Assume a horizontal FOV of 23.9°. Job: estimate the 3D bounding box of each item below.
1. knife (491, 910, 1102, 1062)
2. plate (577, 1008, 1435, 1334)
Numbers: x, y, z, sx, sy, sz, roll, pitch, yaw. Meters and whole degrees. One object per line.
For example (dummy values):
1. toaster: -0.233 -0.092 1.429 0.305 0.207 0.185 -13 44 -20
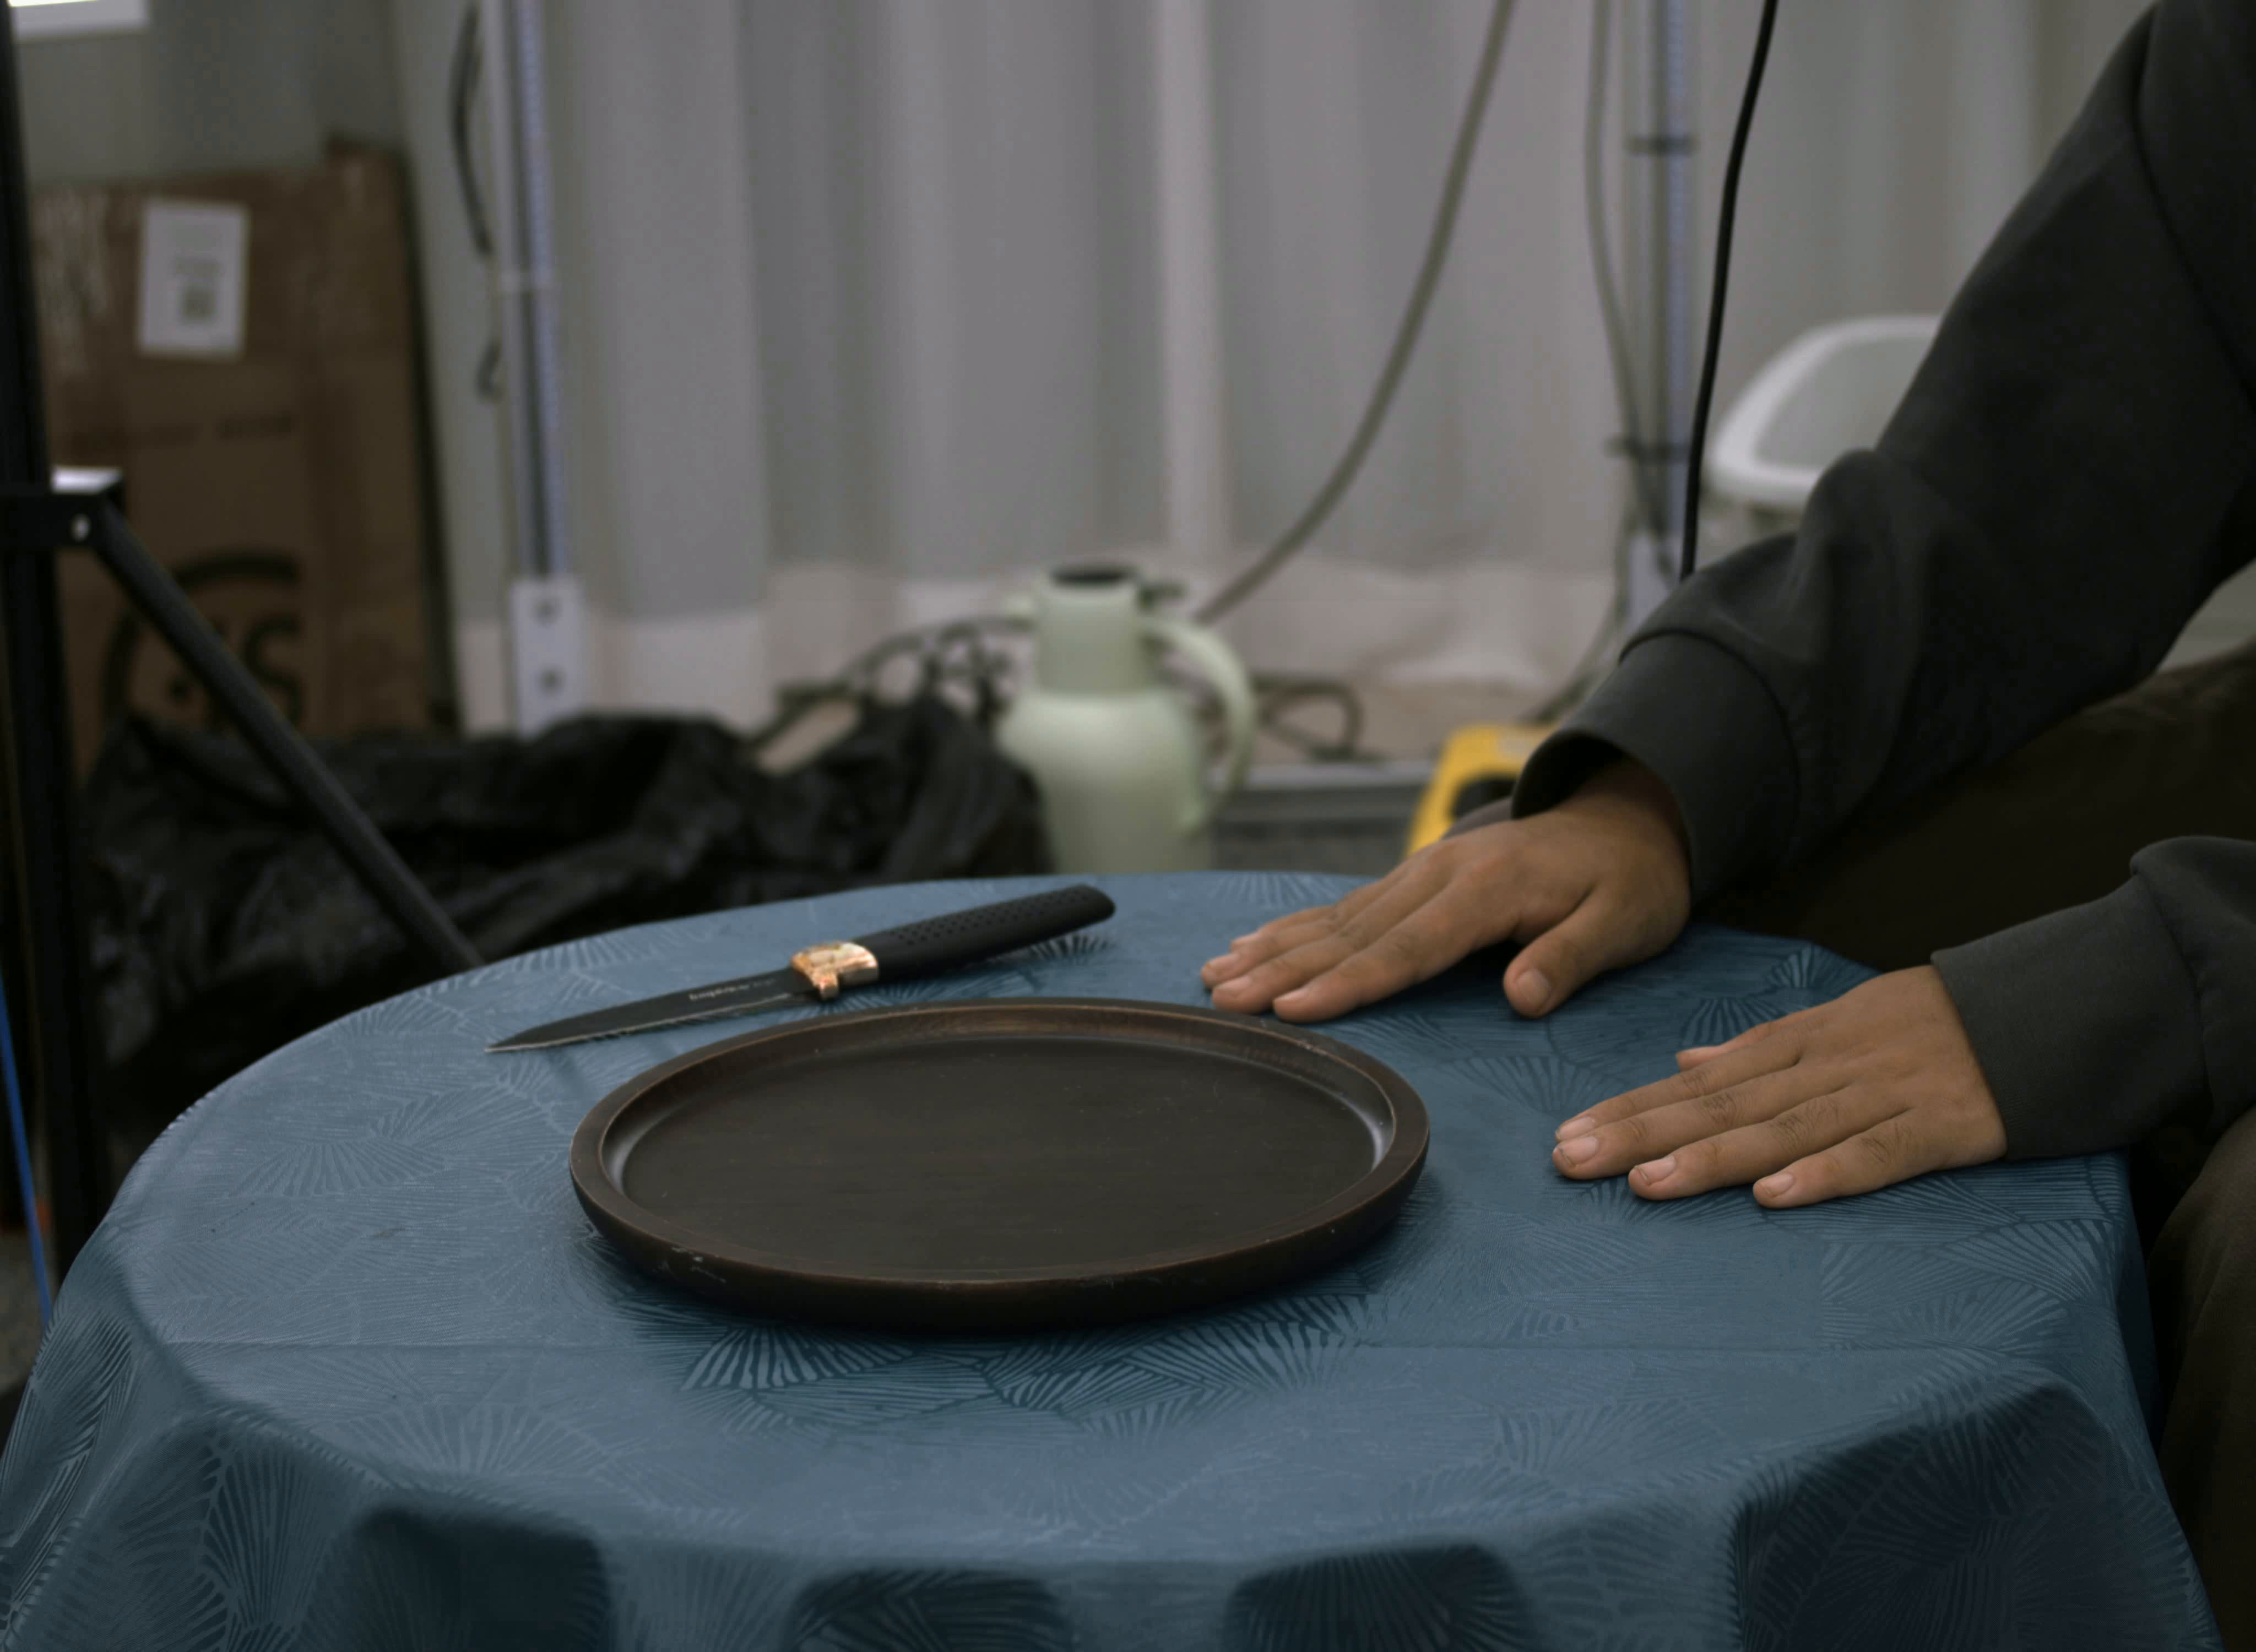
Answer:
1. knife: -0.106 0.053 1.747 0.221 0.017 0.027 -11 23 -24
2. plate: -0.035 0.098 1.555 0.253 0.029 0.256 -2 14 -1
